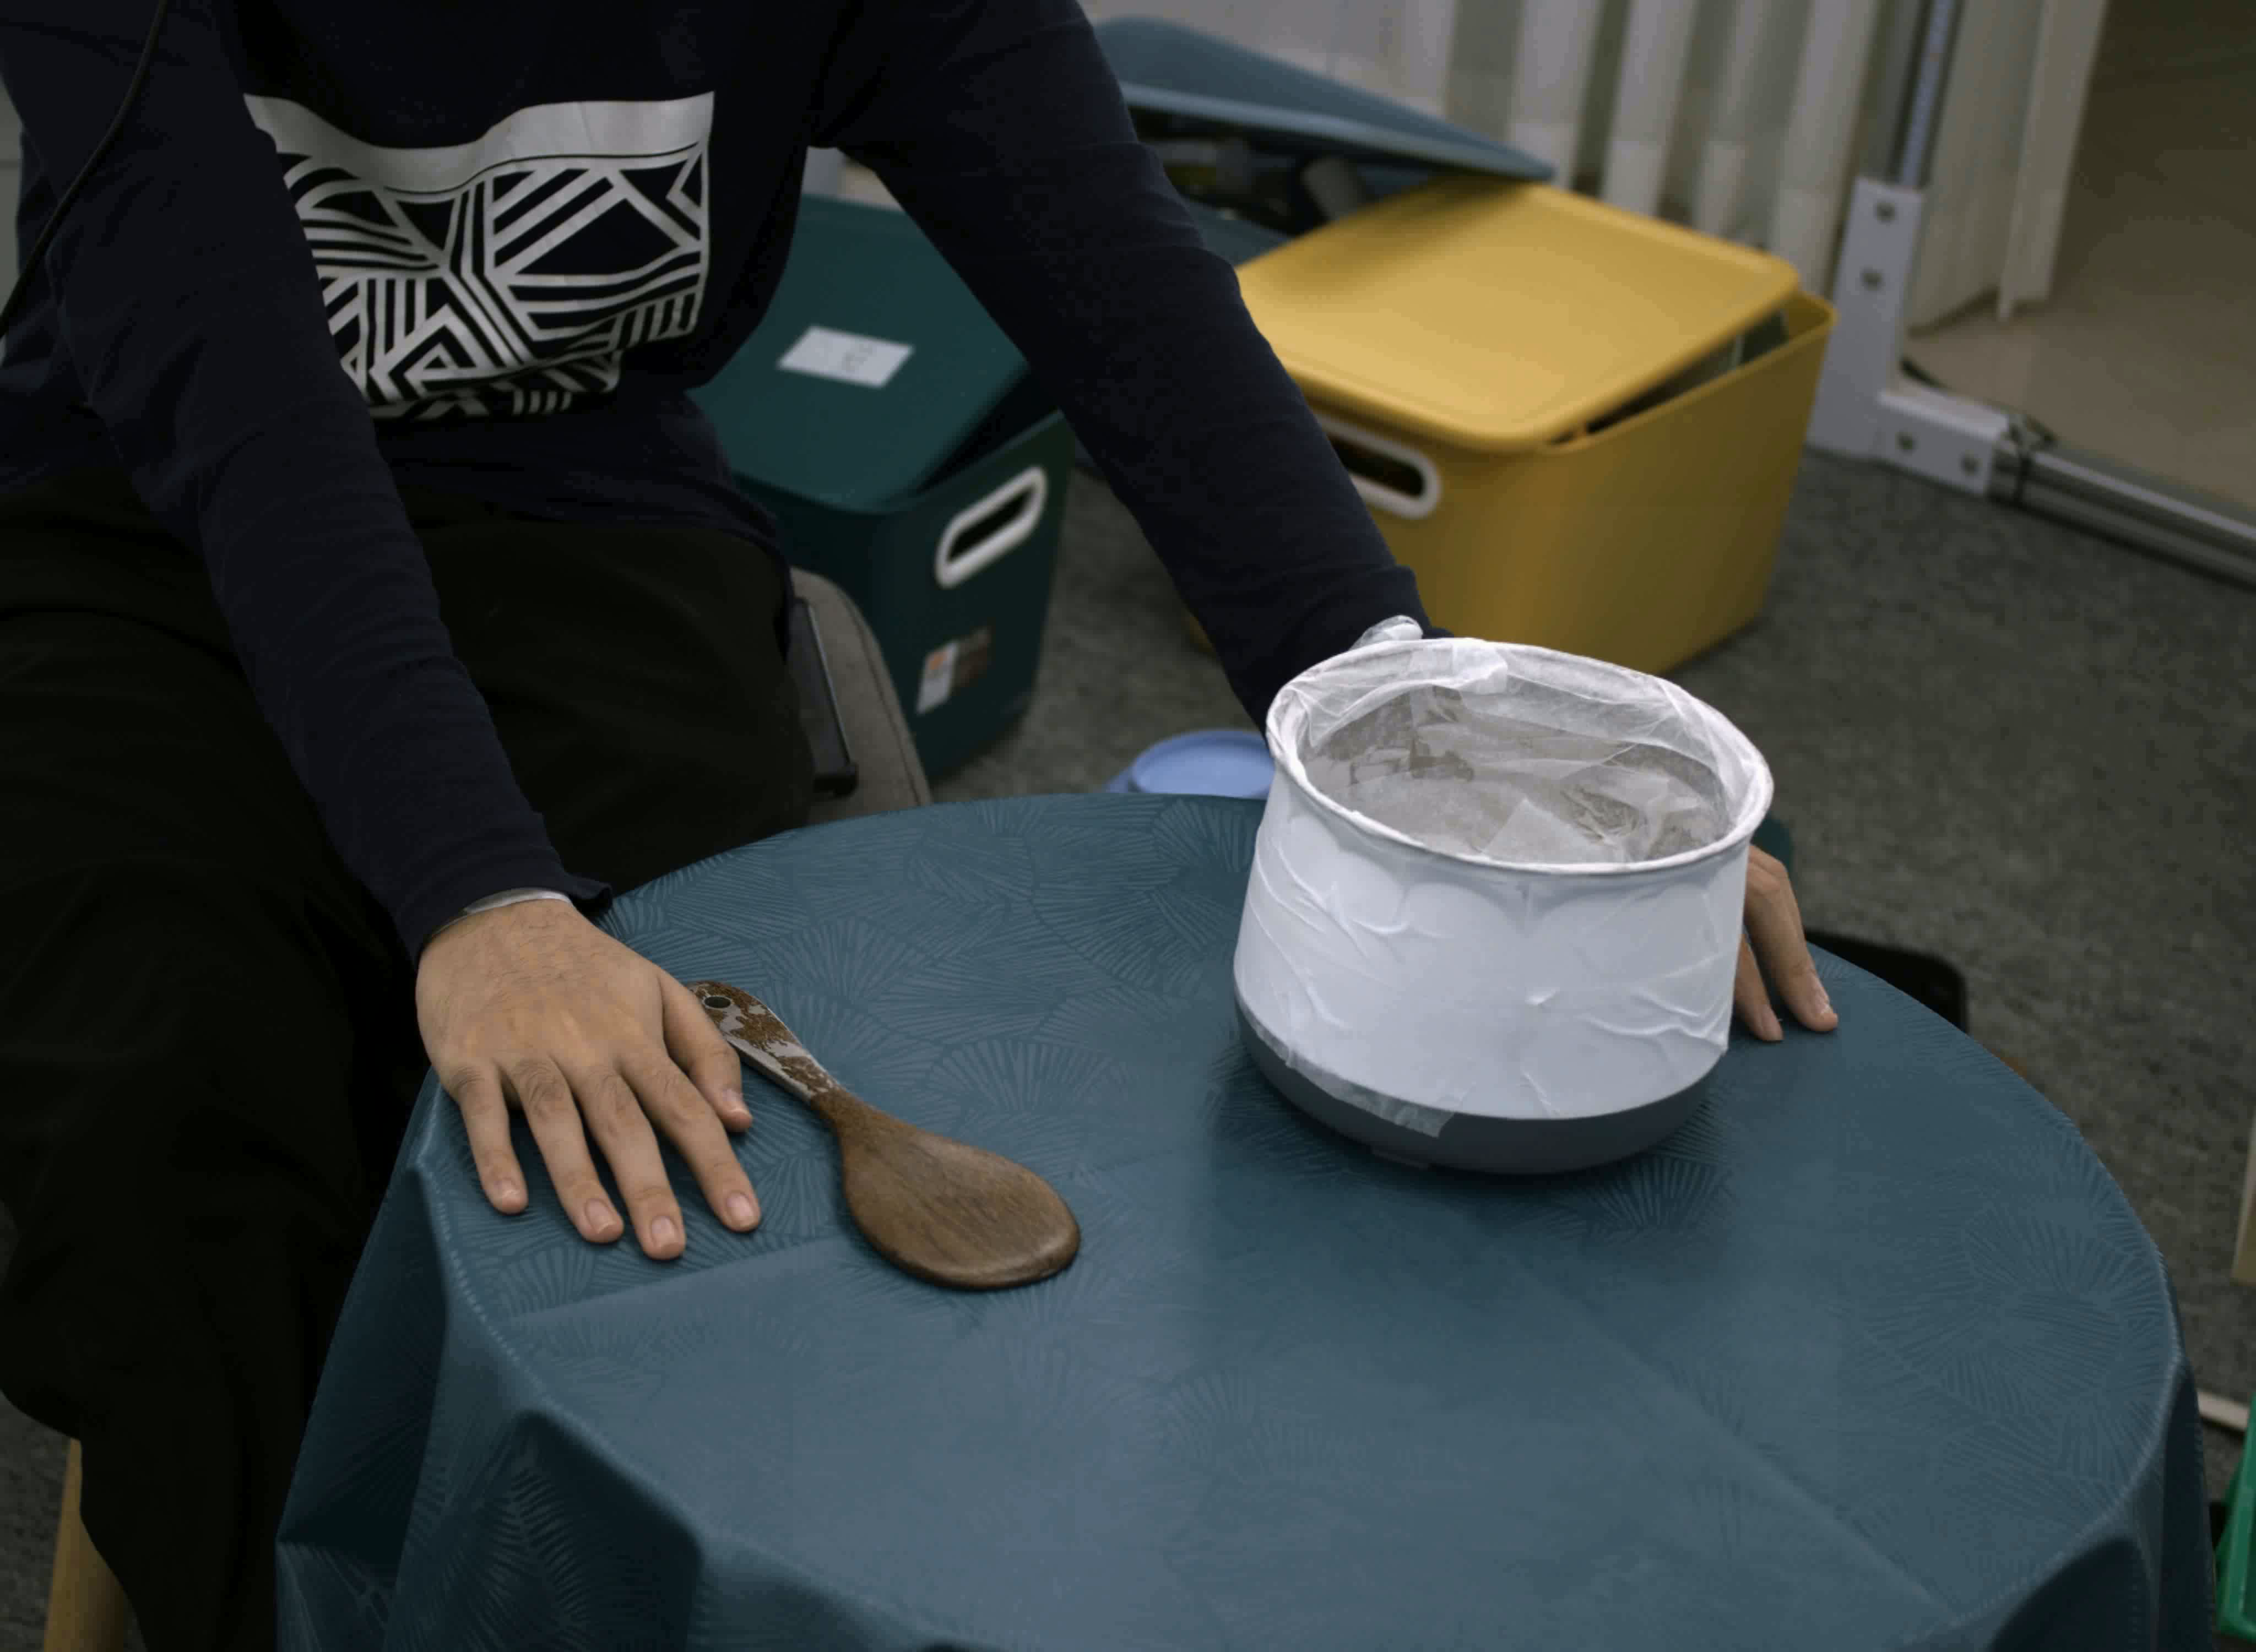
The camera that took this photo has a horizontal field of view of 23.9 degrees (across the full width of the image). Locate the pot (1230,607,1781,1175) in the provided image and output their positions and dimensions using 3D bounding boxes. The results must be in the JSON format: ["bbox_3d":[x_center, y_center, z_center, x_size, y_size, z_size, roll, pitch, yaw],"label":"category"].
[{"bbox_3d":[0.118,0.016,1.890,0.177,0.136,0.236,-3,29,-25],"label":"pot"}]

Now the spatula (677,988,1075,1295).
[{"bbox_3d":[-0.093,0.103,1.820,0.071,0.009,0.217,-11,31,-33],"label":"spatula"}]
